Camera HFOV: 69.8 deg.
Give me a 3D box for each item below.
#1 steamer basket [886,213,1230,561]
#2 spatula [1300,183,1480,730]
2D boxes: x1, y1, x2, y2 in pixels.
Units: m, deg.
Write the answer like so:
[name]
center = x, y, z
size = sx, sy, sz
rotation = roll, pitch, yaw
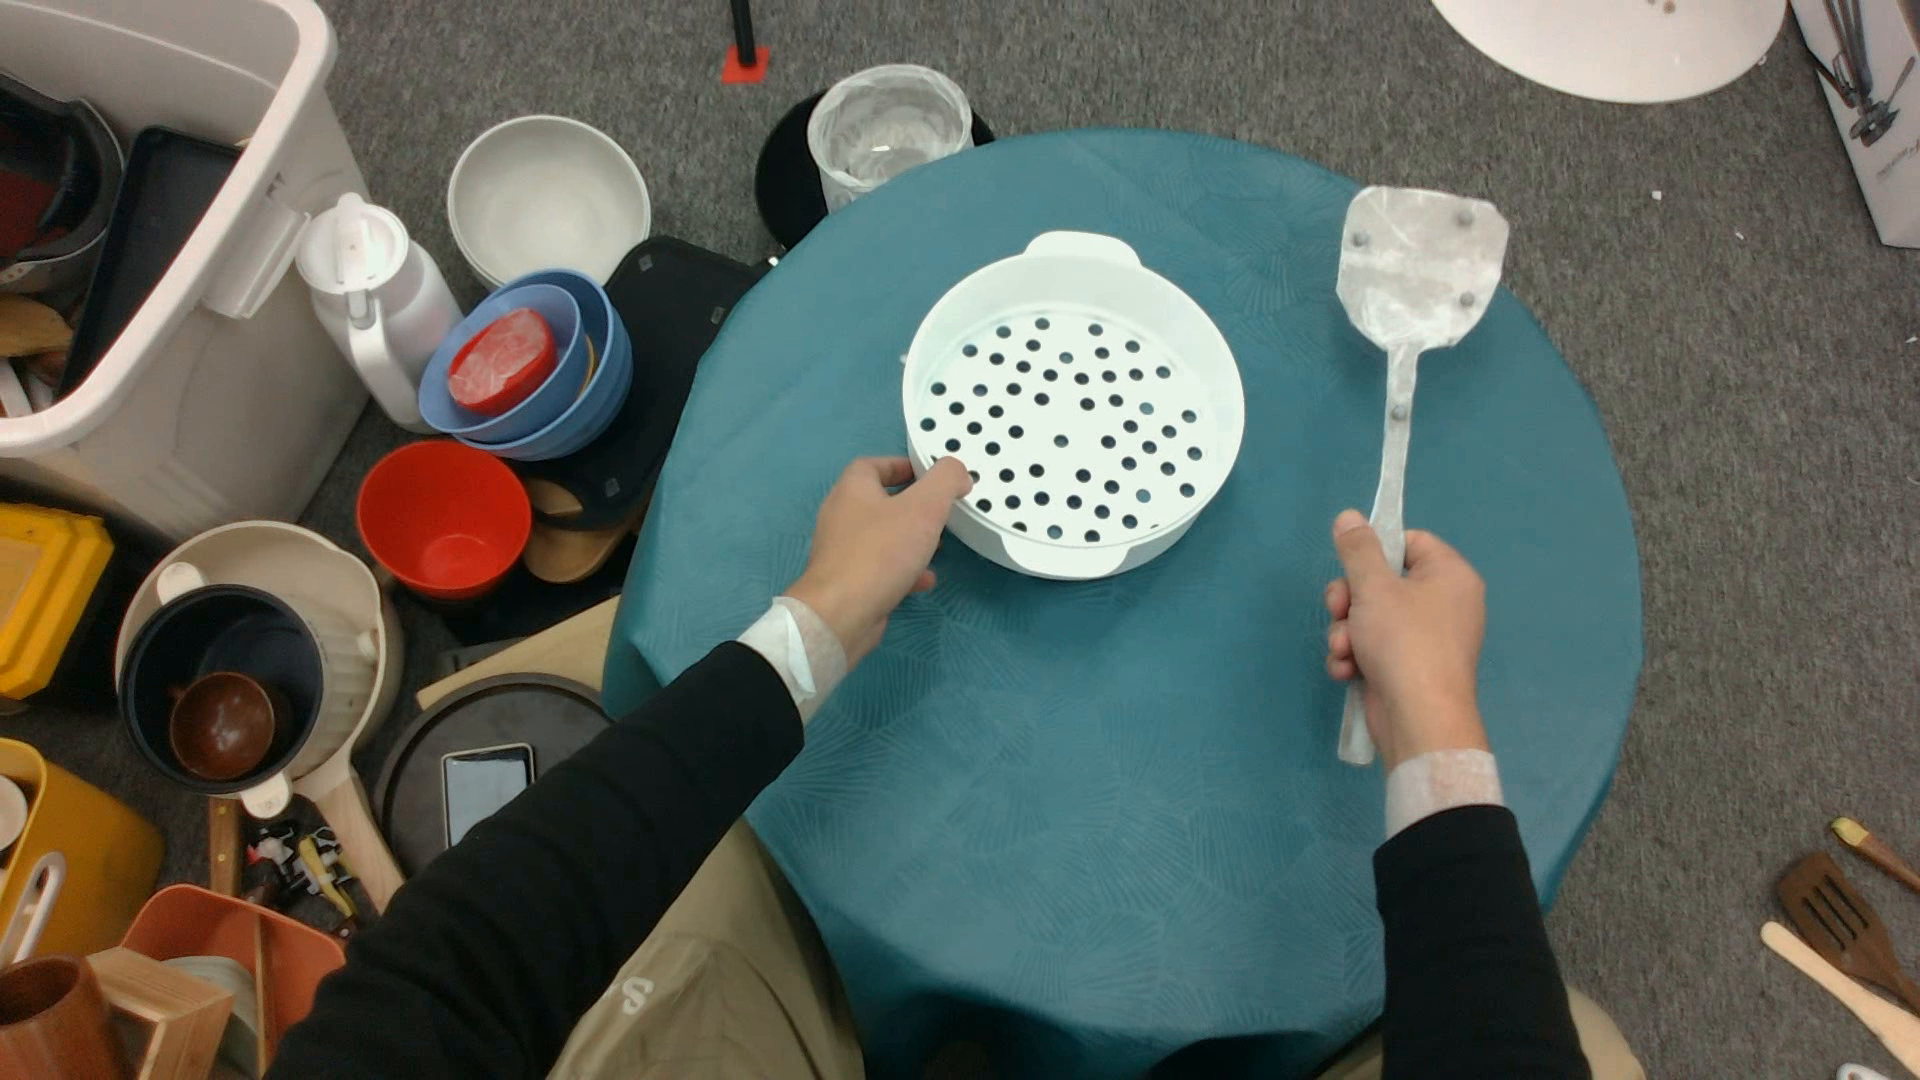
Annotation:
[steamer basket]
center = 0.056, -0.085, 0.830
size = 0.202, 0.069, 0.231
rotation = 7, 67, -1
[spatula]
center = 0.236, -0.059, 0.794
size = 0.098, 0.044, 0.366
rotation = 15, 60, 4
